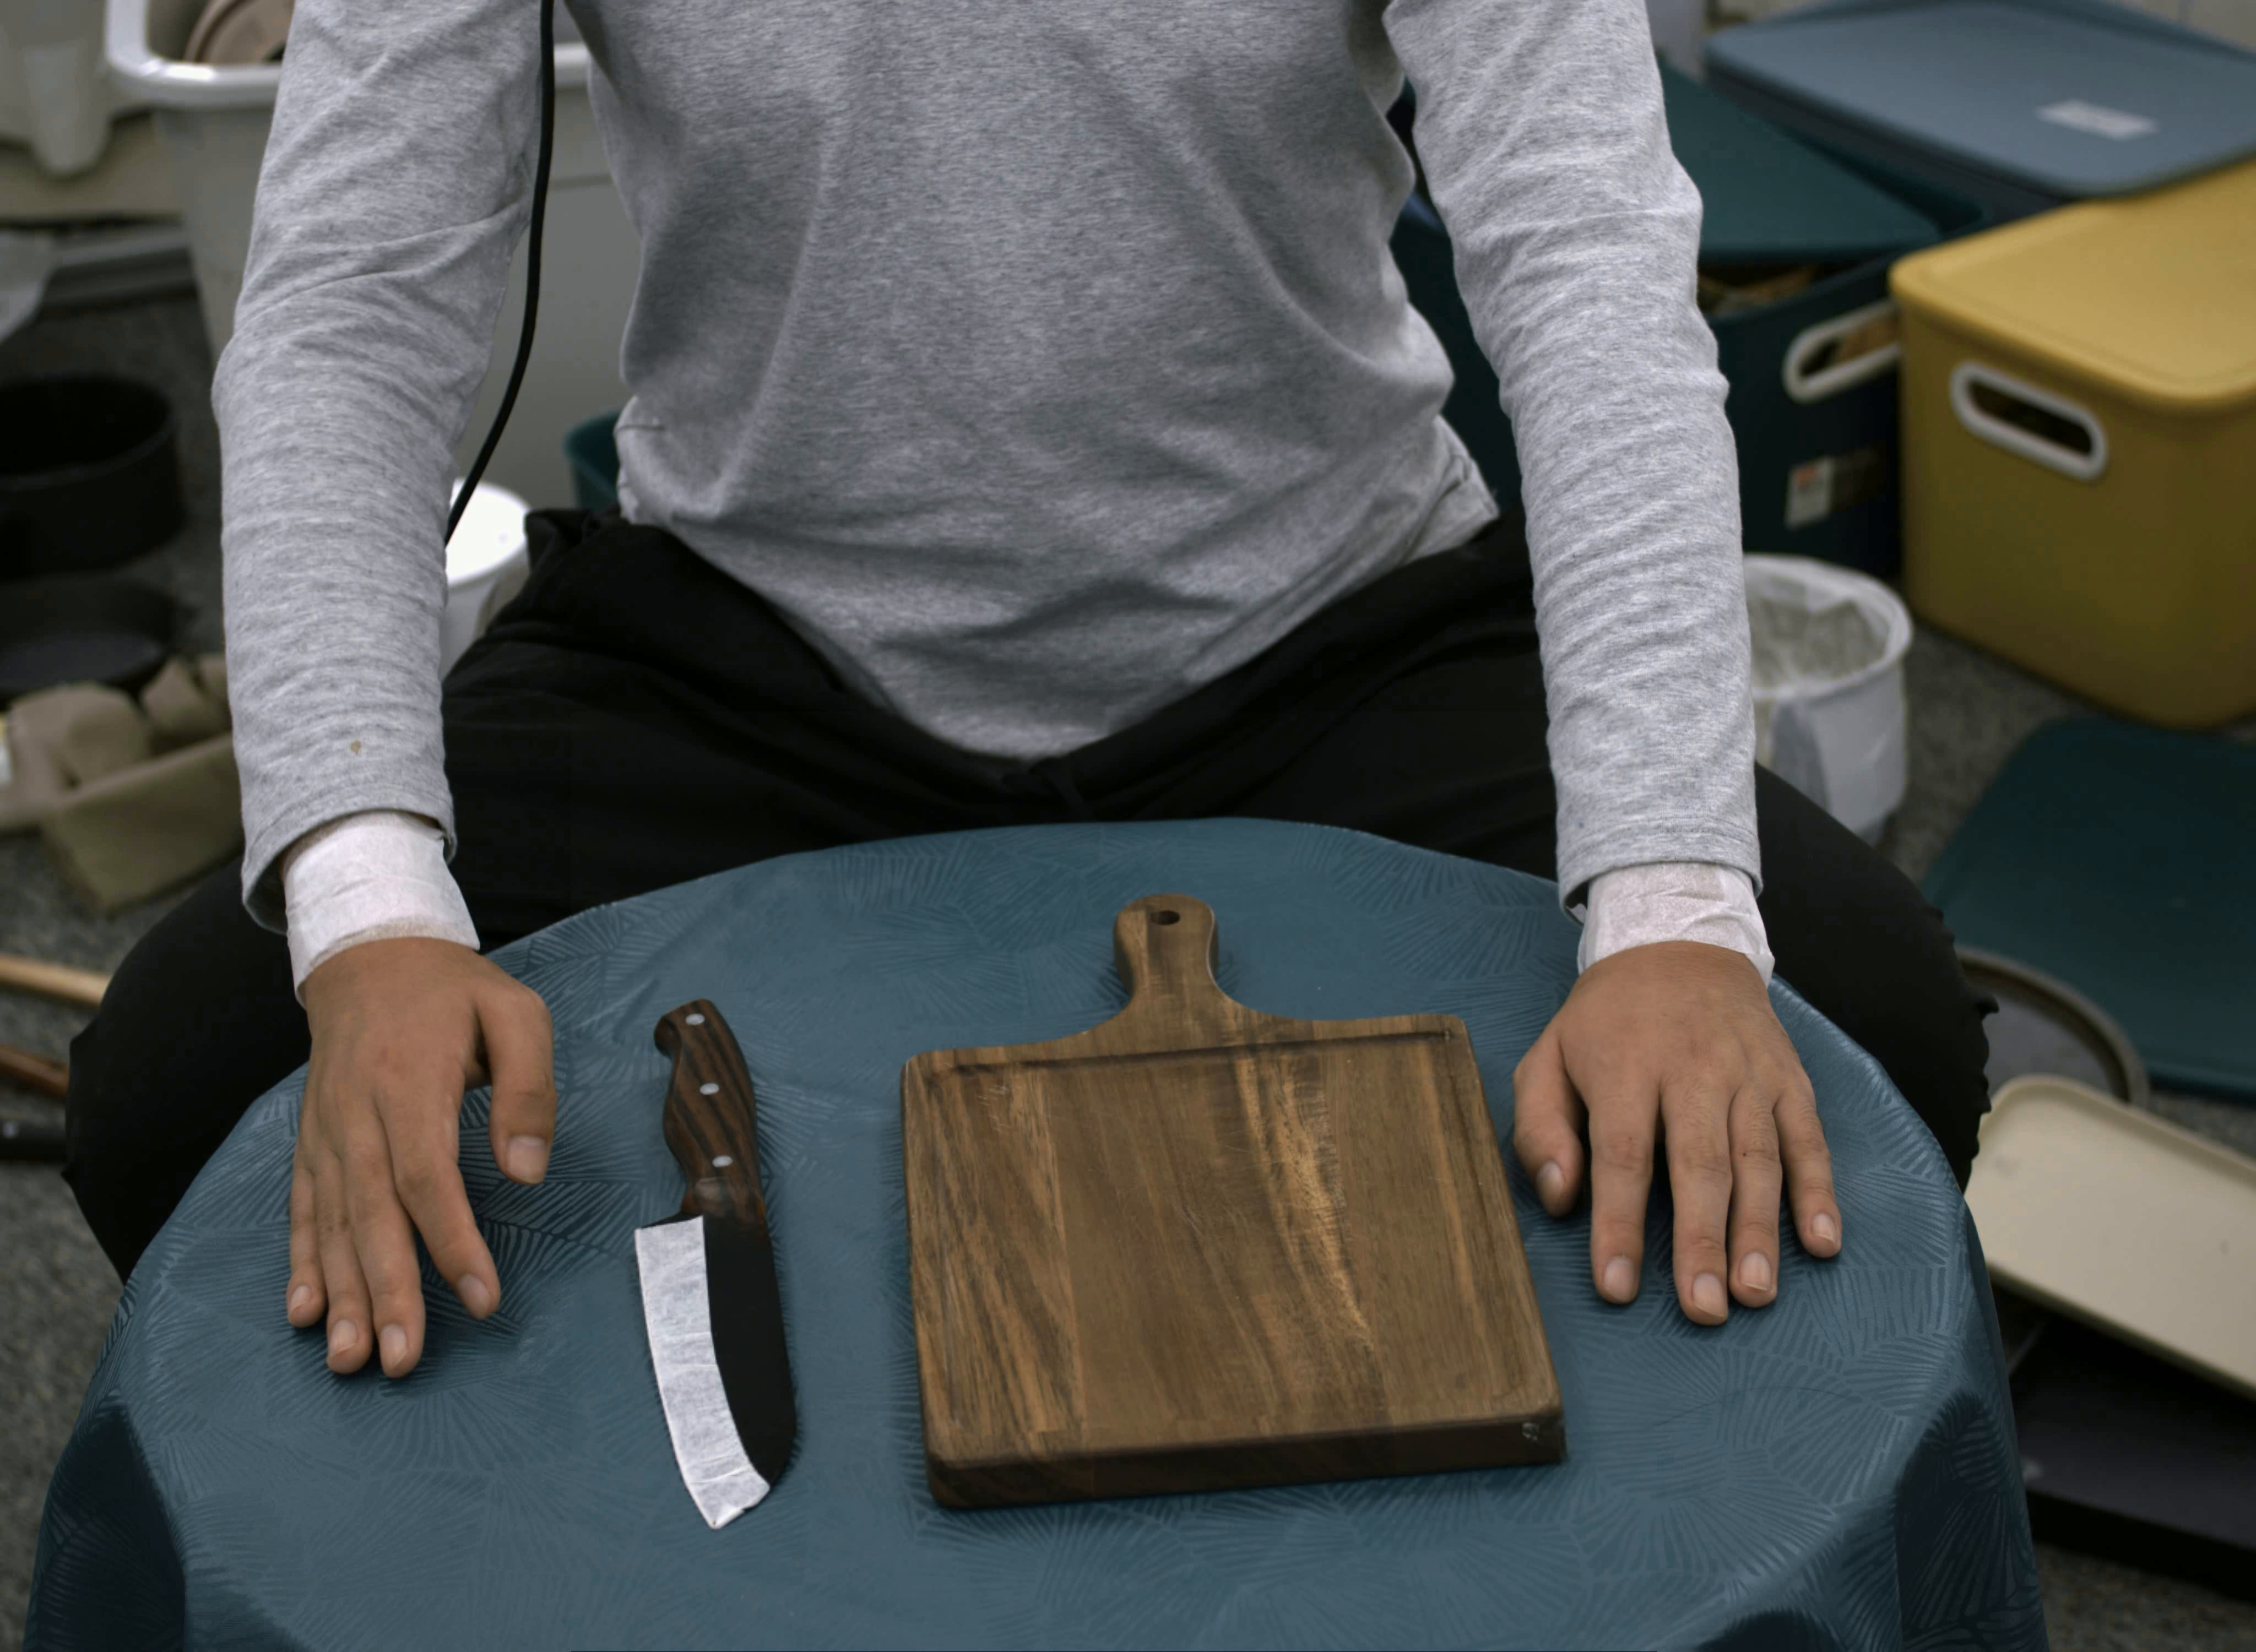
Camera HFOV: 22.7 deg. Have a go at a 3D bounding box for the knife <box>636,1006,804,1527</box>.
[{"bbox_3d":[-0.135,0.141,1.822,0.050,0.020,0.293,-10,30,-1],"label":"knife"}]

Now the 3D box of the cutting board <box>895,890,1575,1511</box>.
[{"bbox_3d":[0.025,0.113,1.855,0.200,0.023,0.357,-4,27,-3],"label":"cutting board"}]
